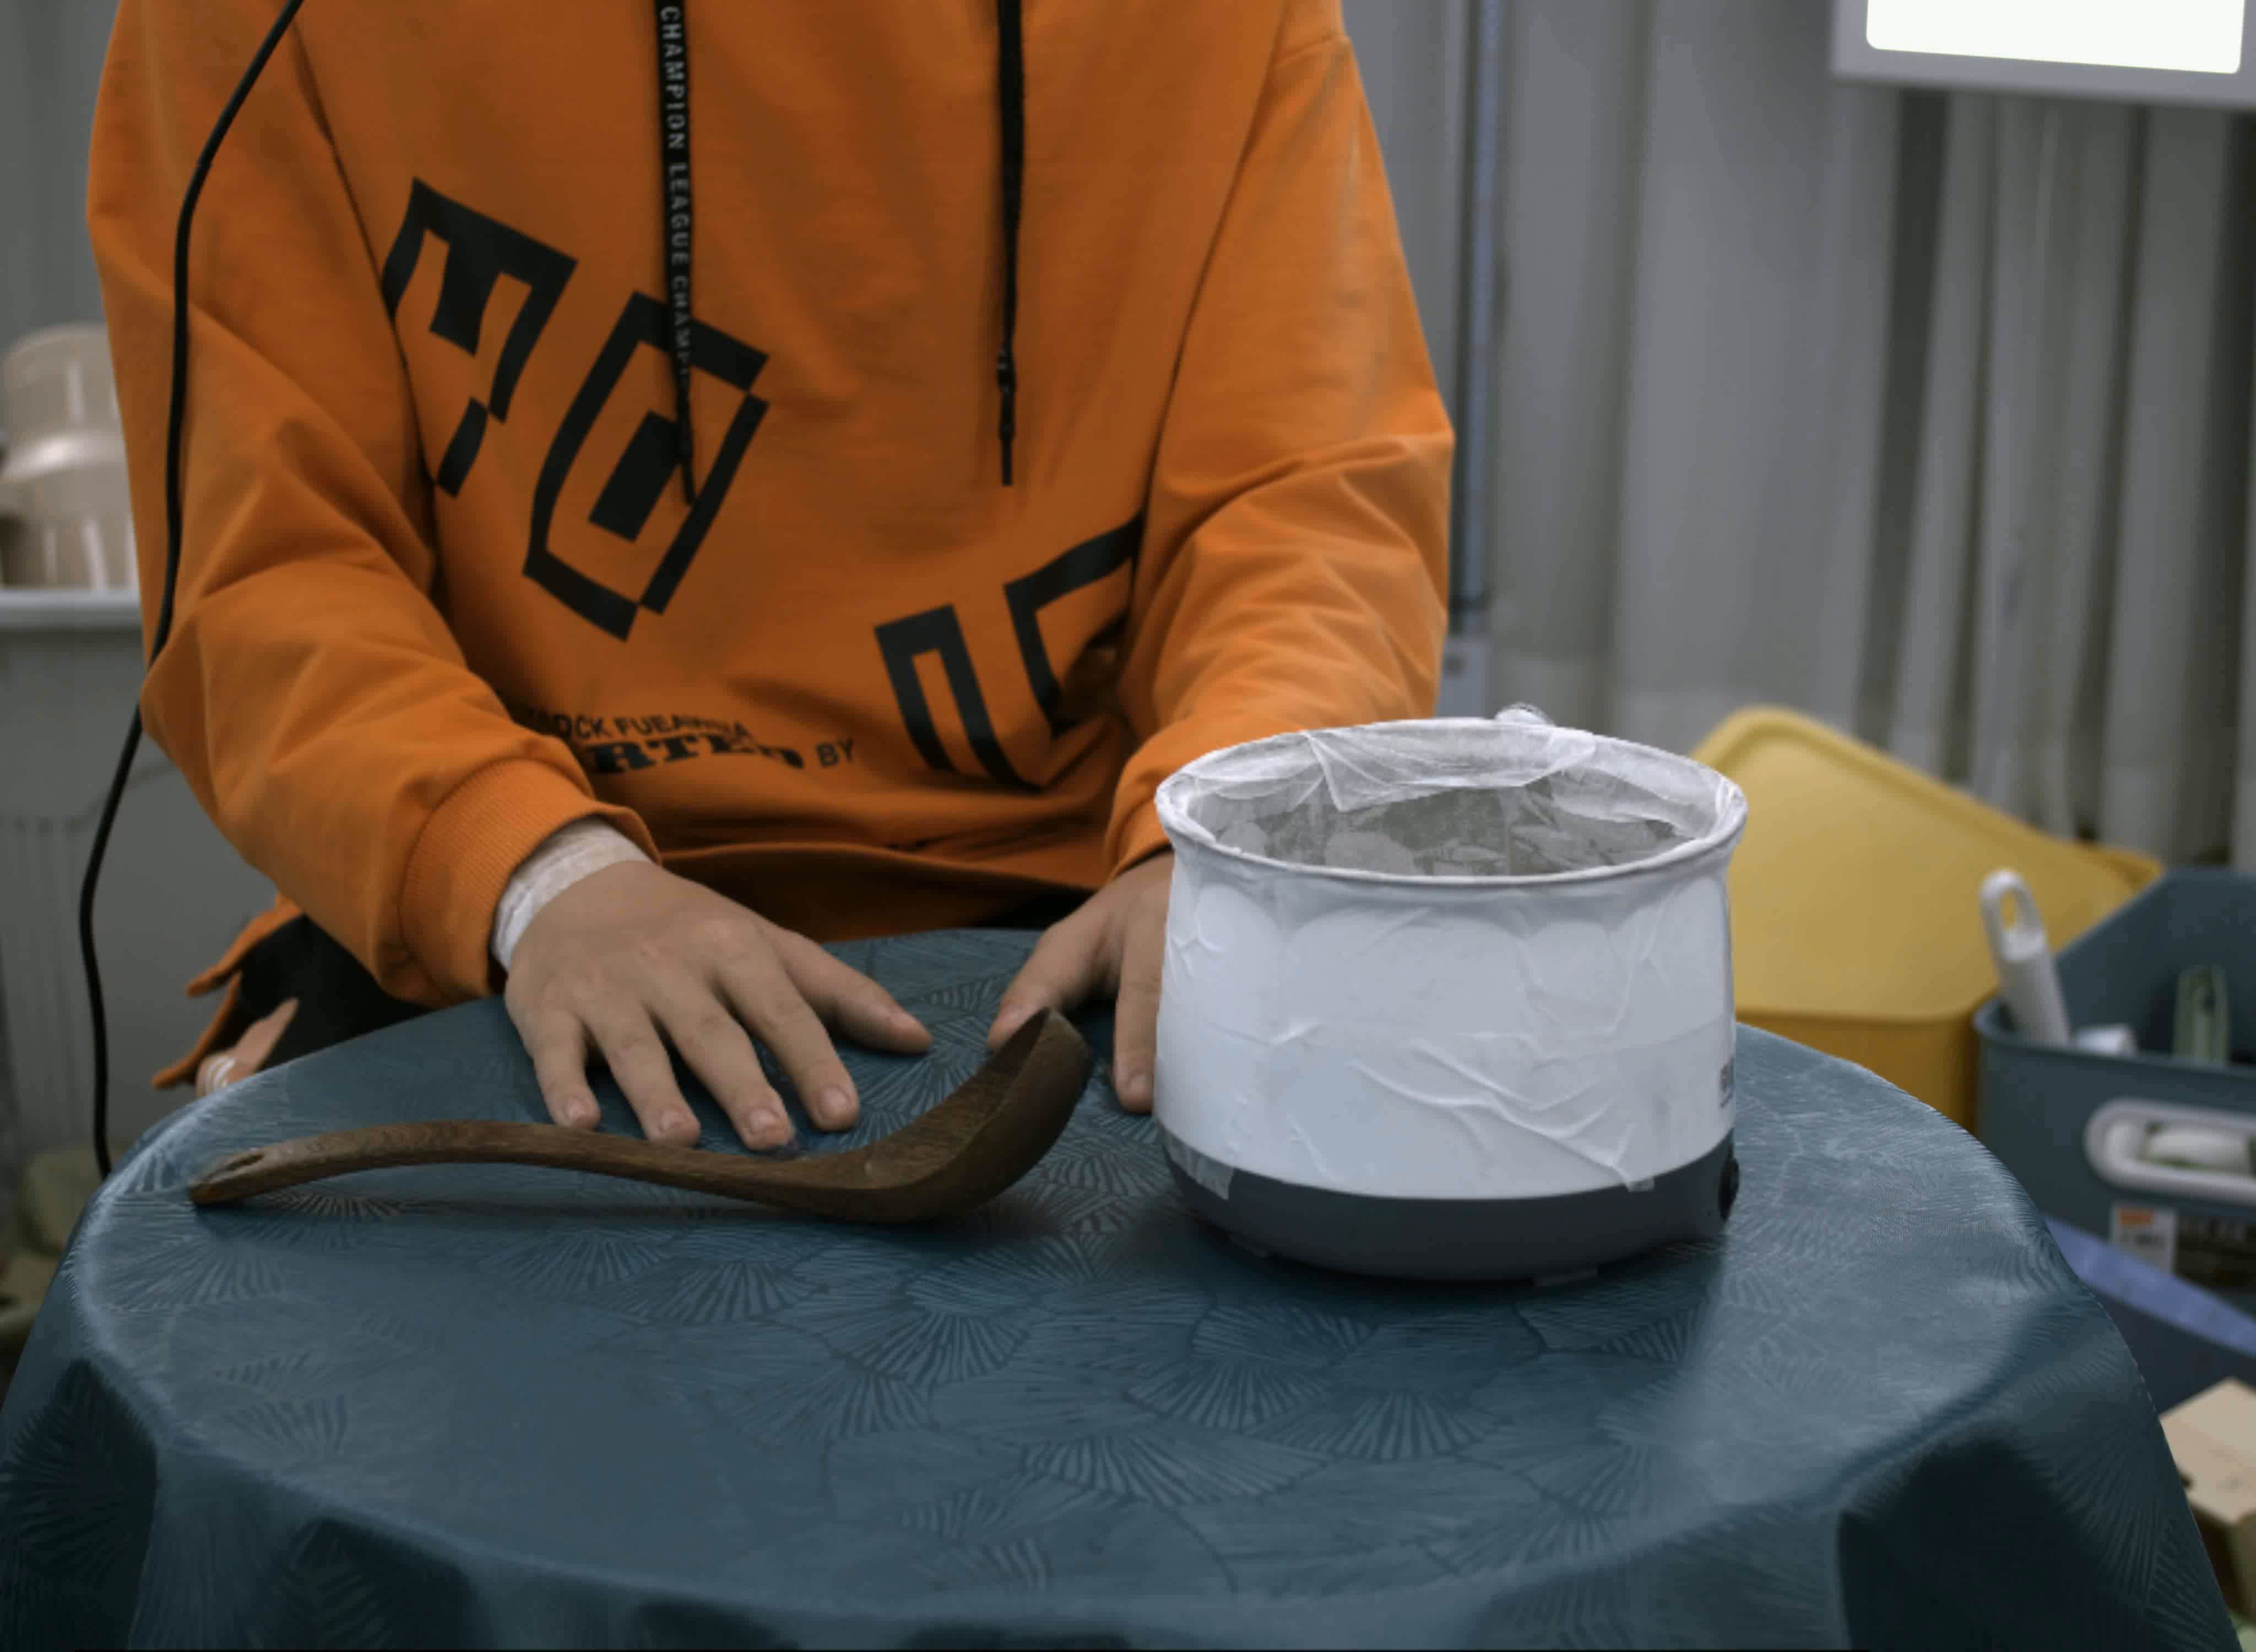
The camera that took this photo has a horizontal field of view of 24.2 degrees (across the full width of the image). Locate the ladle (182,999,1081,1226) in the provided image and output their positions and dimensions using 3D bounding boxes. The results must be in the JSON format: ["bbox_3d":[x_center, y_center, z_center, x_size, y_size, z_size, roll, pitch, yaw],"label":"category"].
[{"bbox_3d":[-0.151,0.083,1.592,0.273,0.072,0.076,2,13,3],"label":"ladle"}]

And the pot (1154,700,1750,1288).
[{"bbox_3d":[0.103,0.045,1.611,0.177,0.138,0.233,5,17,14],"label":"pot"}]
